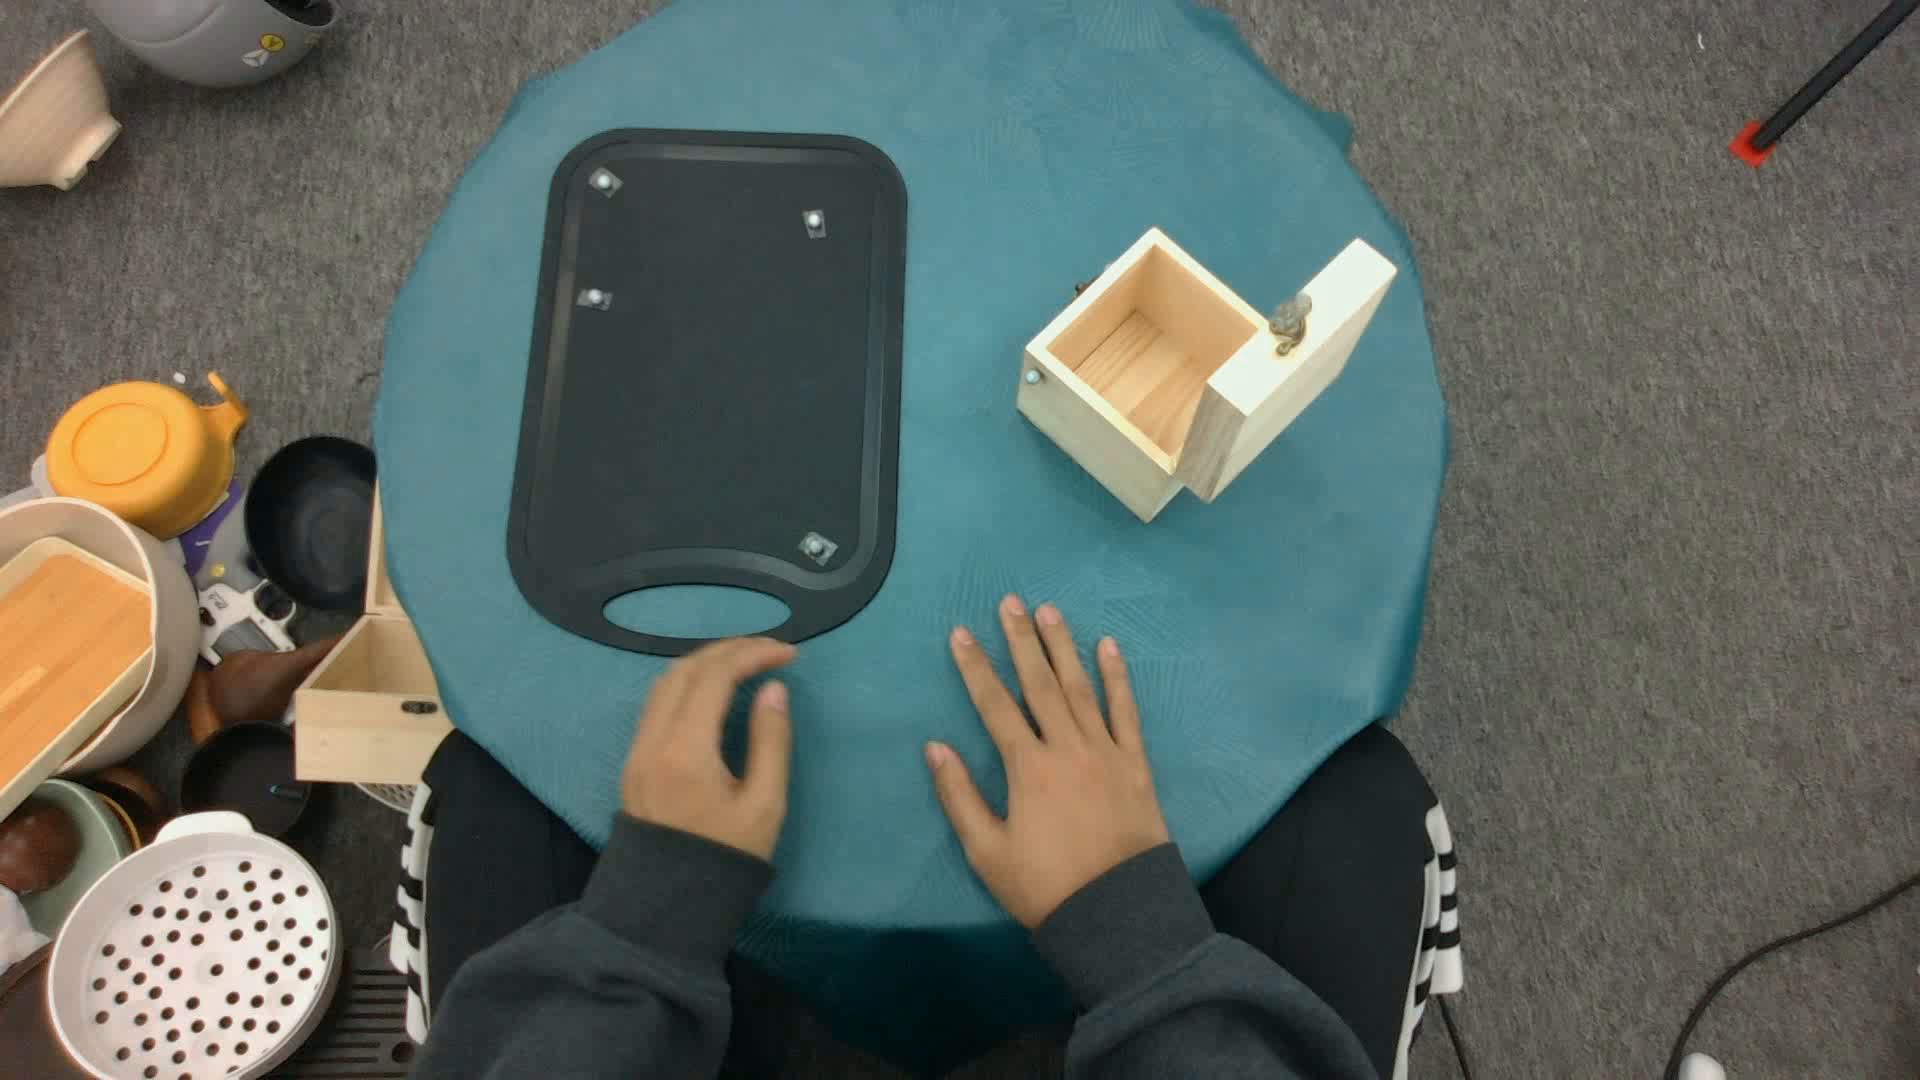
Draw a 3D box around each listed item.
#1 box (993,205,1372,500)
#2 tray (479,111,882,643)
[{"bbox_3d":[0.100,-0.109,0.692,0.134,0.184,0.103,42,75,10],"label":"box"},{"bbox_3d":[-0.152,-0.101,0.772,0.211,0.010,0.326,1,72,-2],"label":"tray"}]
